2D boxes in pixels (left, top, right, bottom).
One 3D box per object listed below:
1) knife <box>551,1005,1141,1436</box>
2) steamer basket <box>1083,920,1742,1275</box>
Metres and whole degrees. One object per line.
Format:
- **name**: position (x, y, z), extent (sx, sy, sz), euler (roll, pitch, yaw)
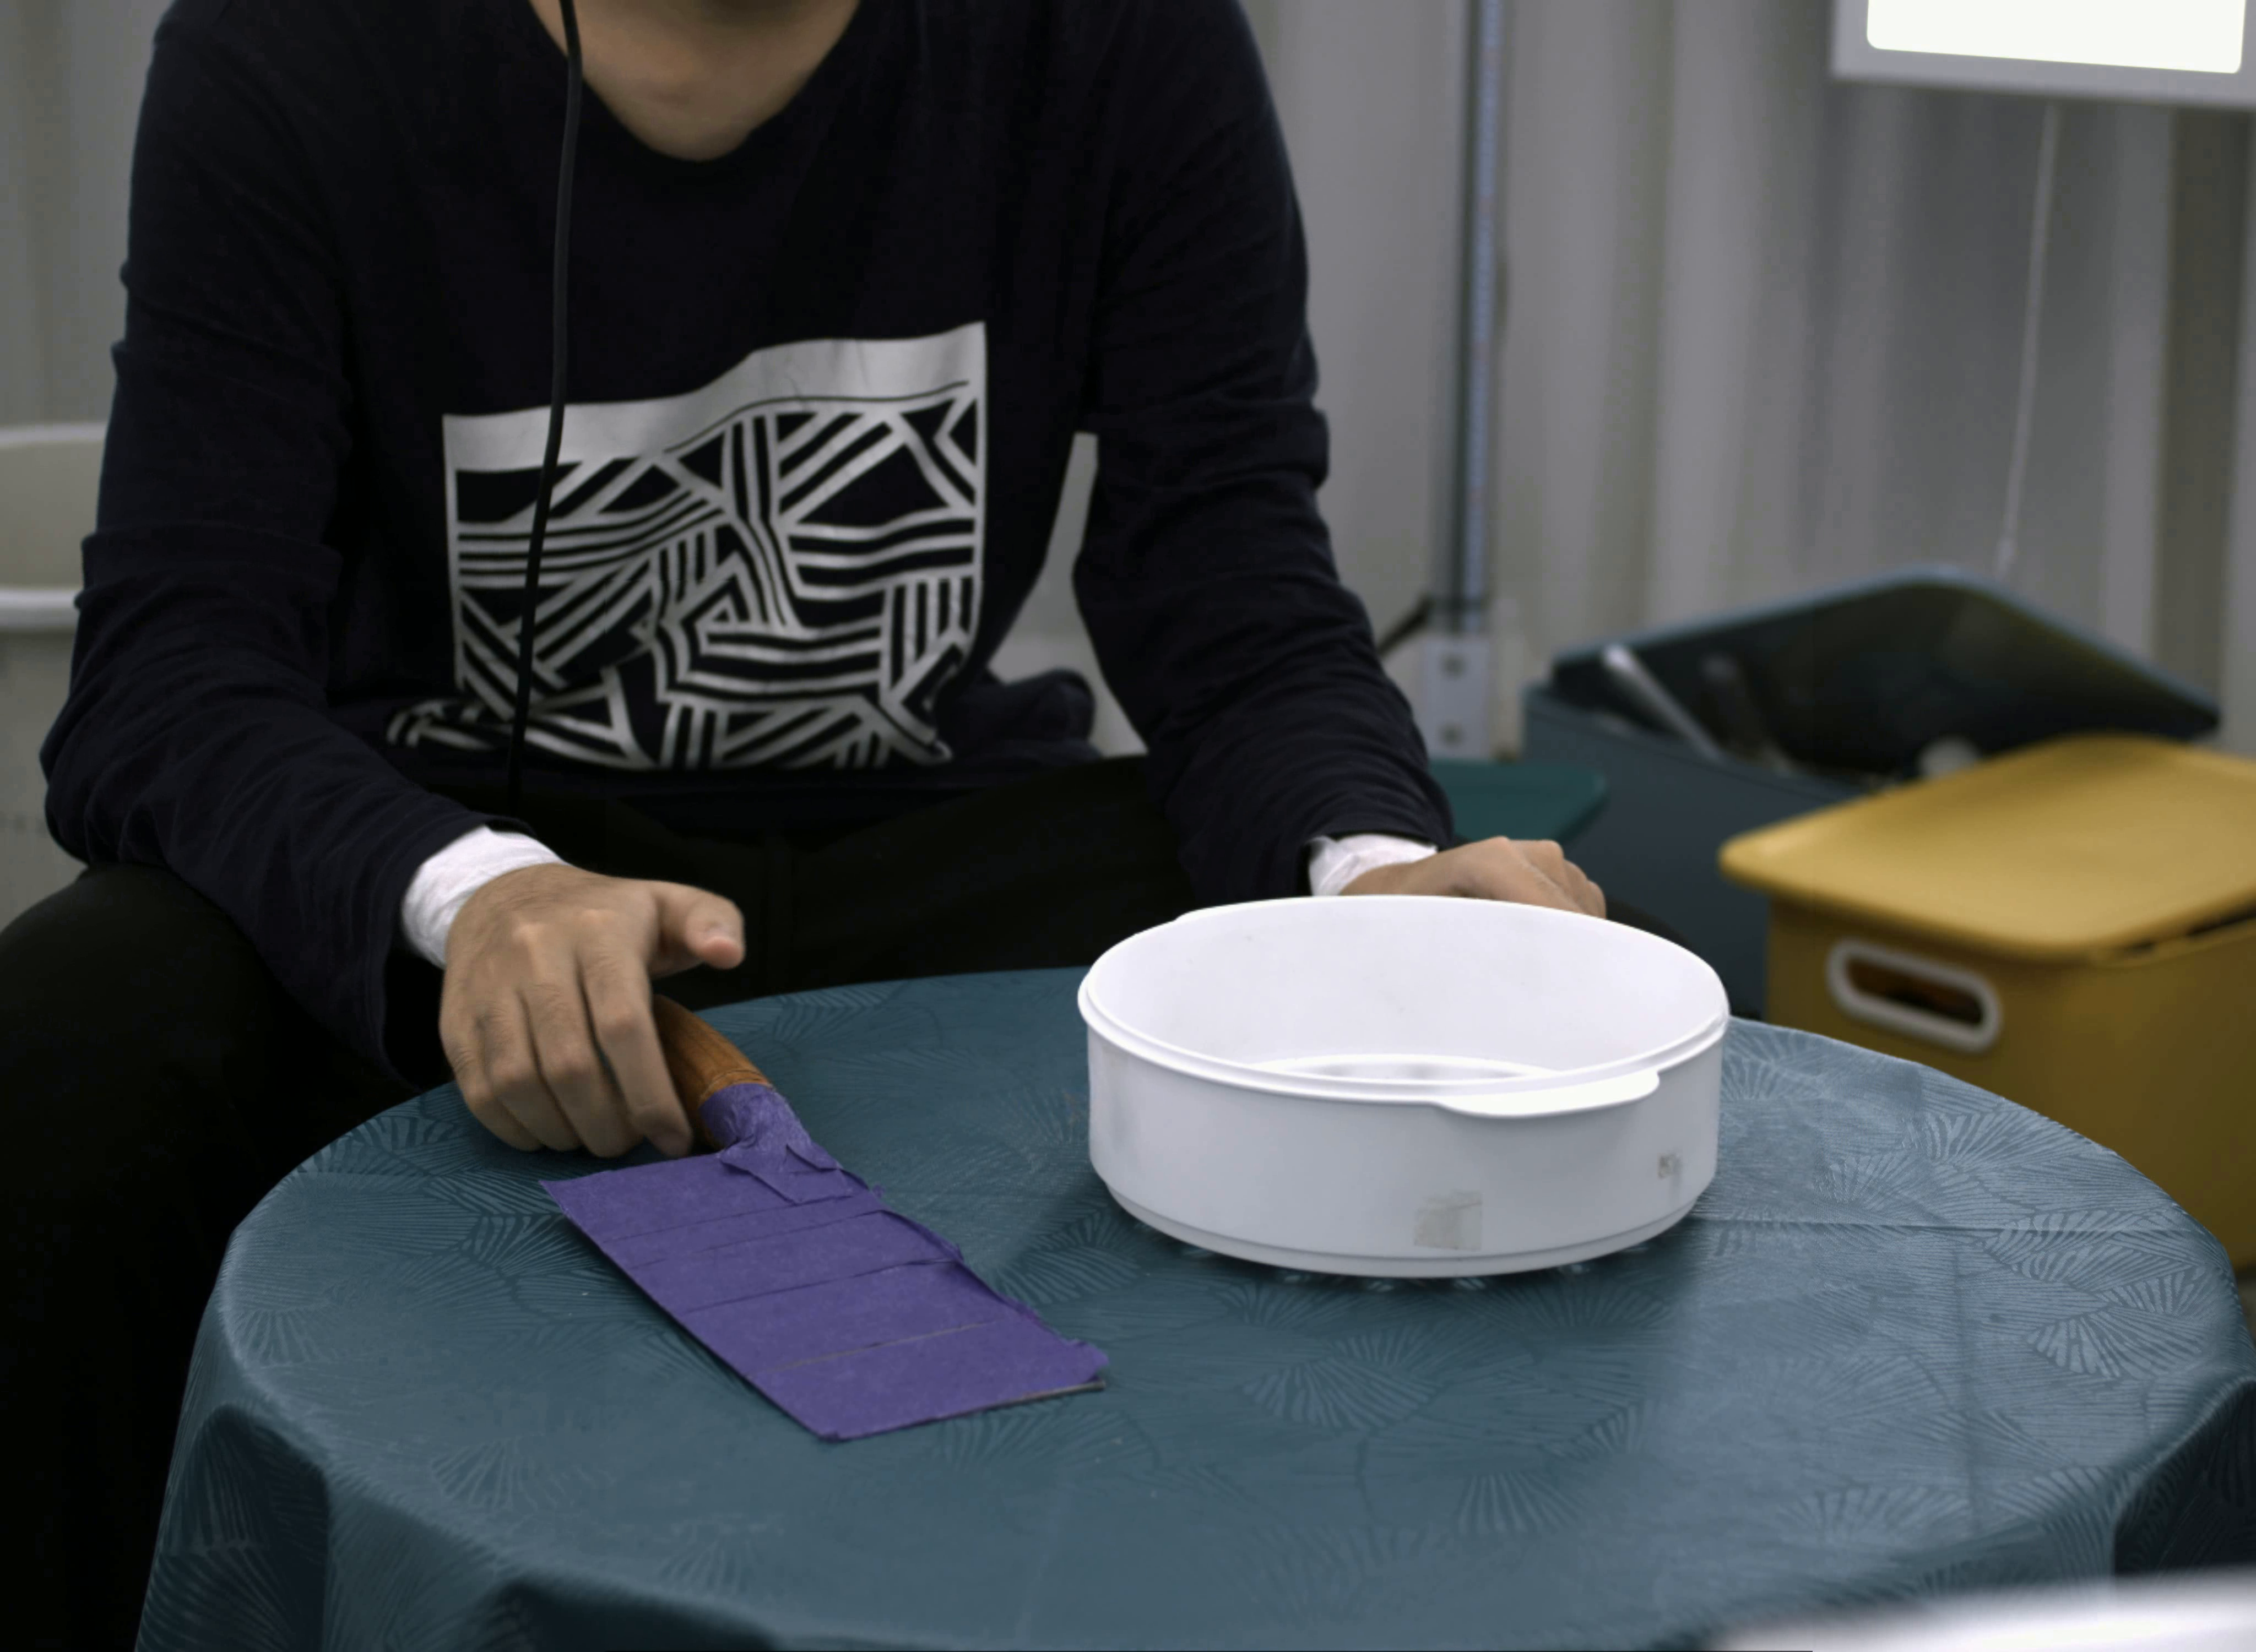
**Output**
- **knife**: position (-0.114, 0.113, 1.568), extent (0.104, 0.032, 0.311), euler (-7, 18, -28)
- **steamer basket**: position (0.087, 0.083, 1.615), extent (0.202, 0.070, 0.228), euler (-5, 13, -23)
